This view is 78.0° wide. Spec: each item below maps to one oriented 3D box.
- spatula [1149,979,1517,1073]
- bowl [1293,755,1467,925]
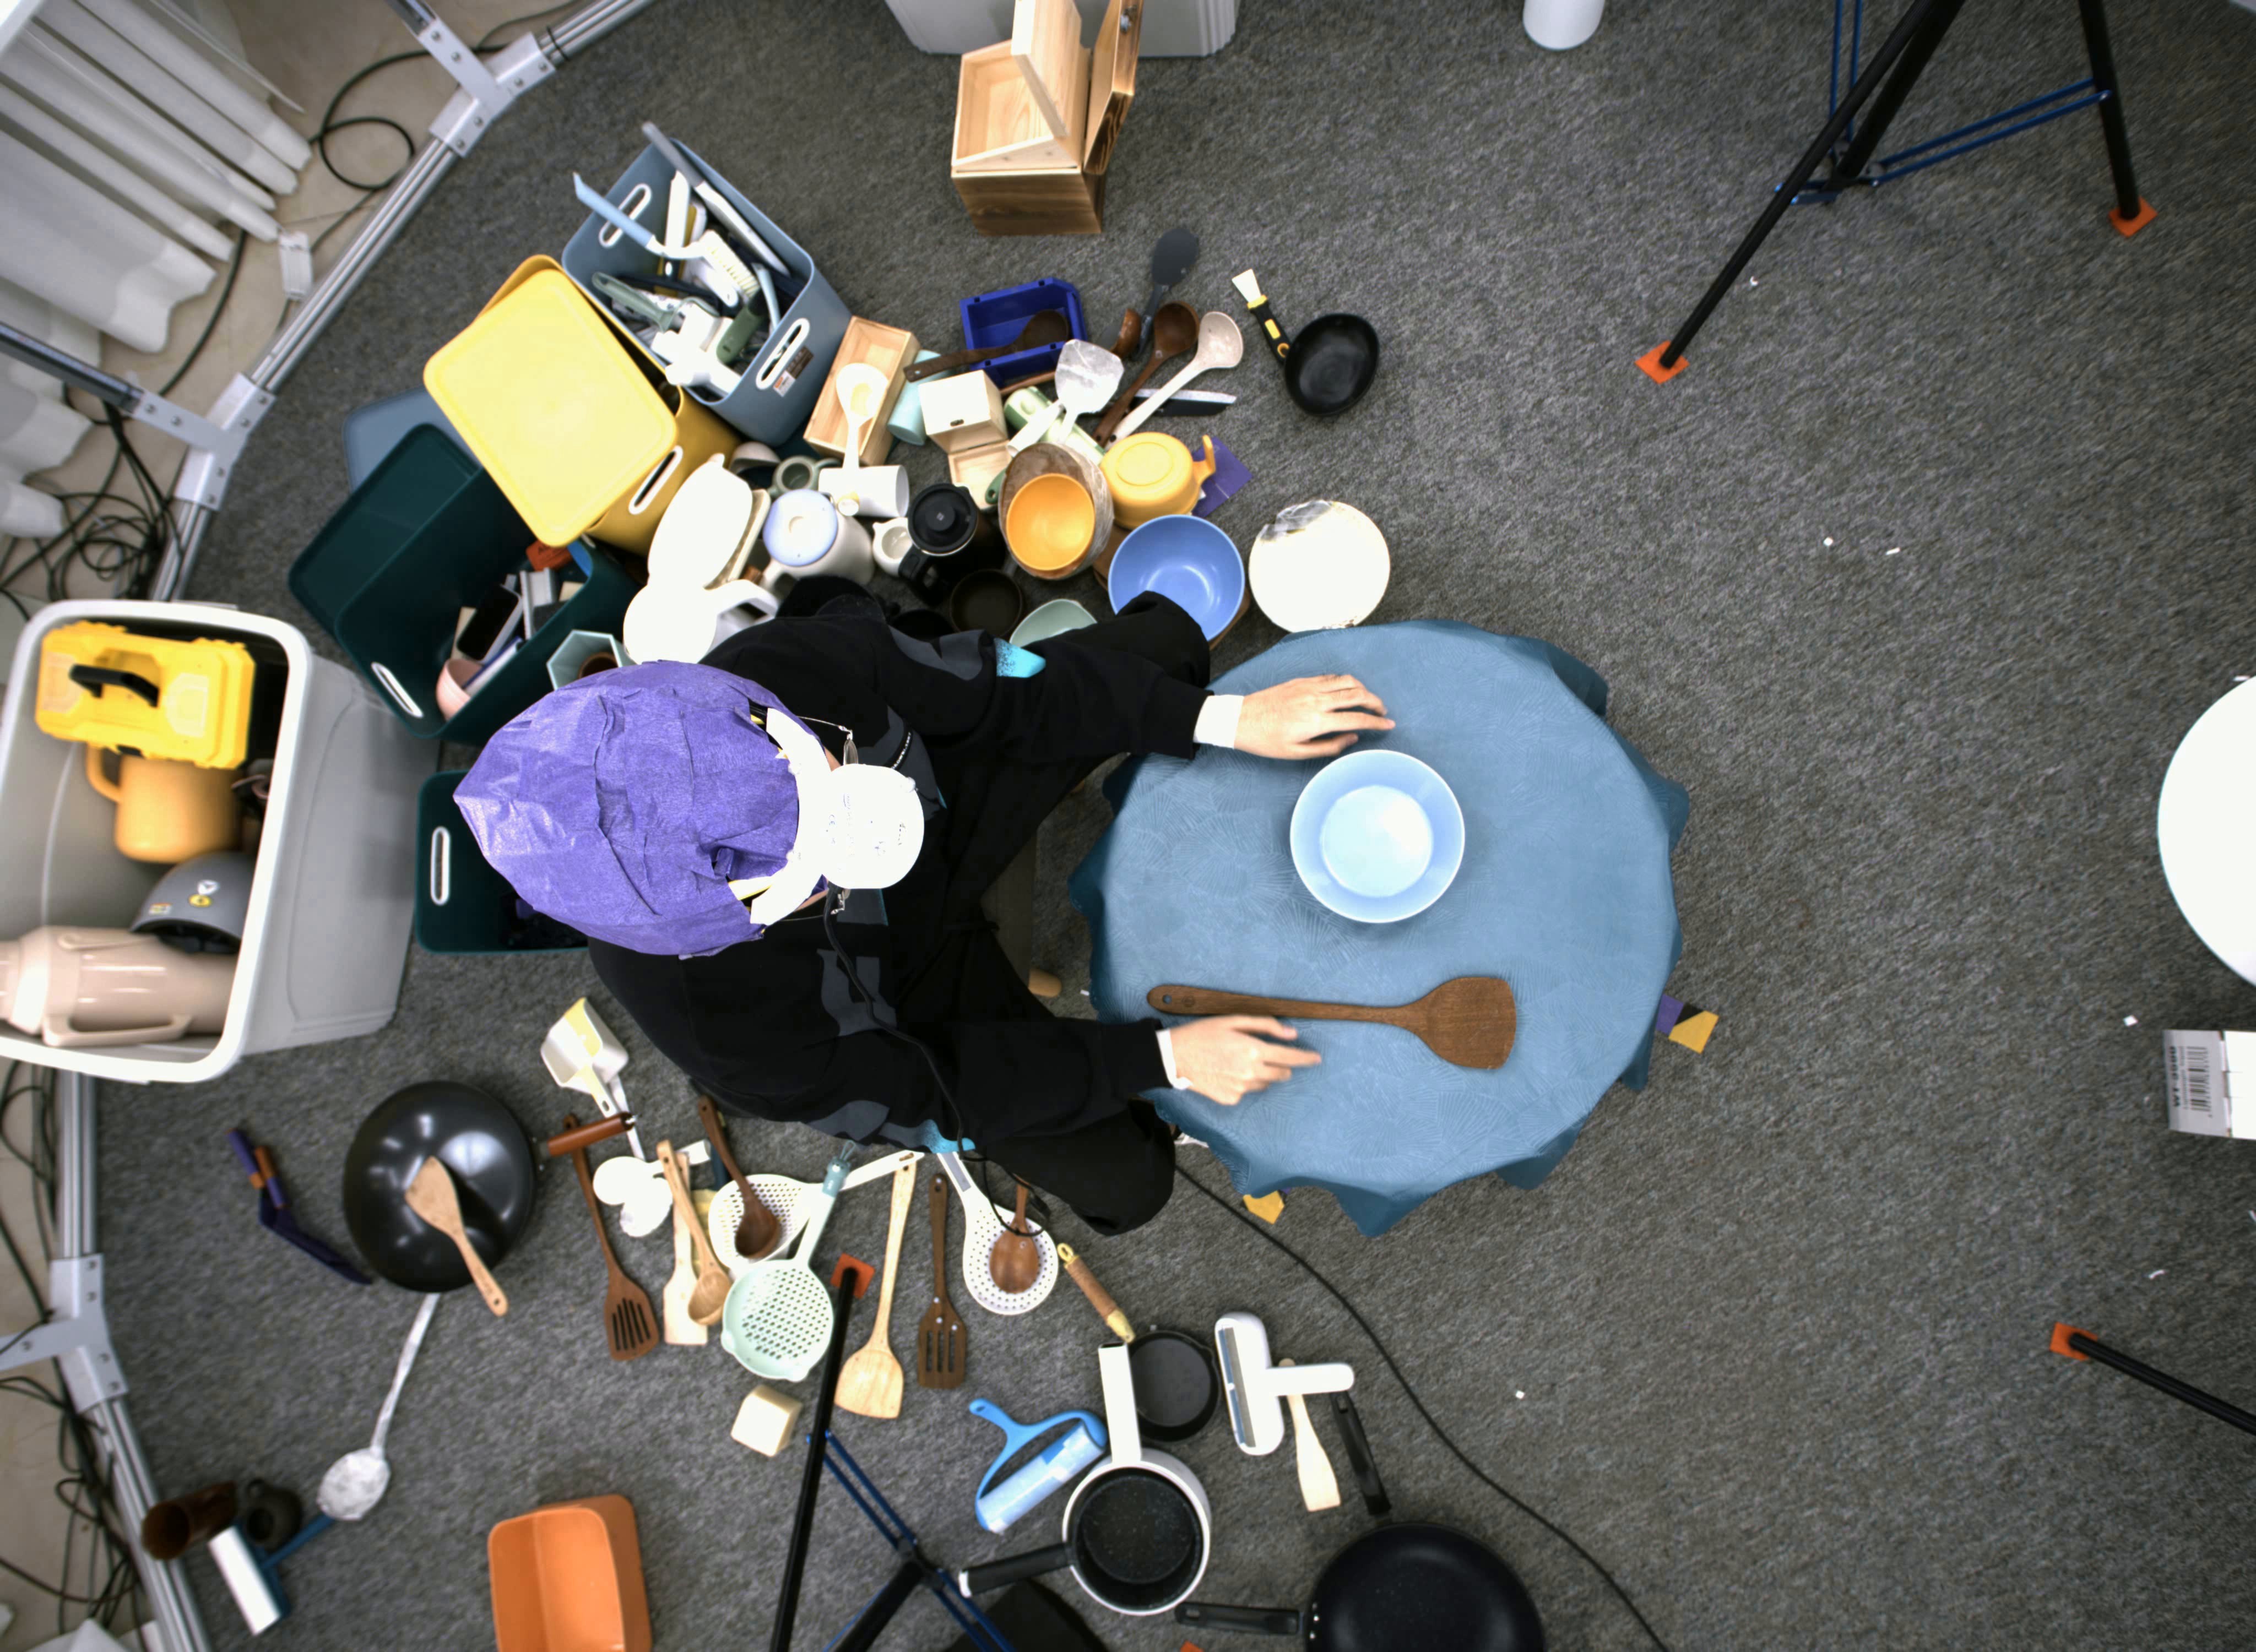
[{"bbox_3d":[0.212,0.197,1.460,0.387,0.016,0.095,3,86,11],"label":"spatula"},{"bbox_3d":[0.262,0.016,1.435,0.177,0.070,0.175,-1,85,11],"label":"bowl"}]
